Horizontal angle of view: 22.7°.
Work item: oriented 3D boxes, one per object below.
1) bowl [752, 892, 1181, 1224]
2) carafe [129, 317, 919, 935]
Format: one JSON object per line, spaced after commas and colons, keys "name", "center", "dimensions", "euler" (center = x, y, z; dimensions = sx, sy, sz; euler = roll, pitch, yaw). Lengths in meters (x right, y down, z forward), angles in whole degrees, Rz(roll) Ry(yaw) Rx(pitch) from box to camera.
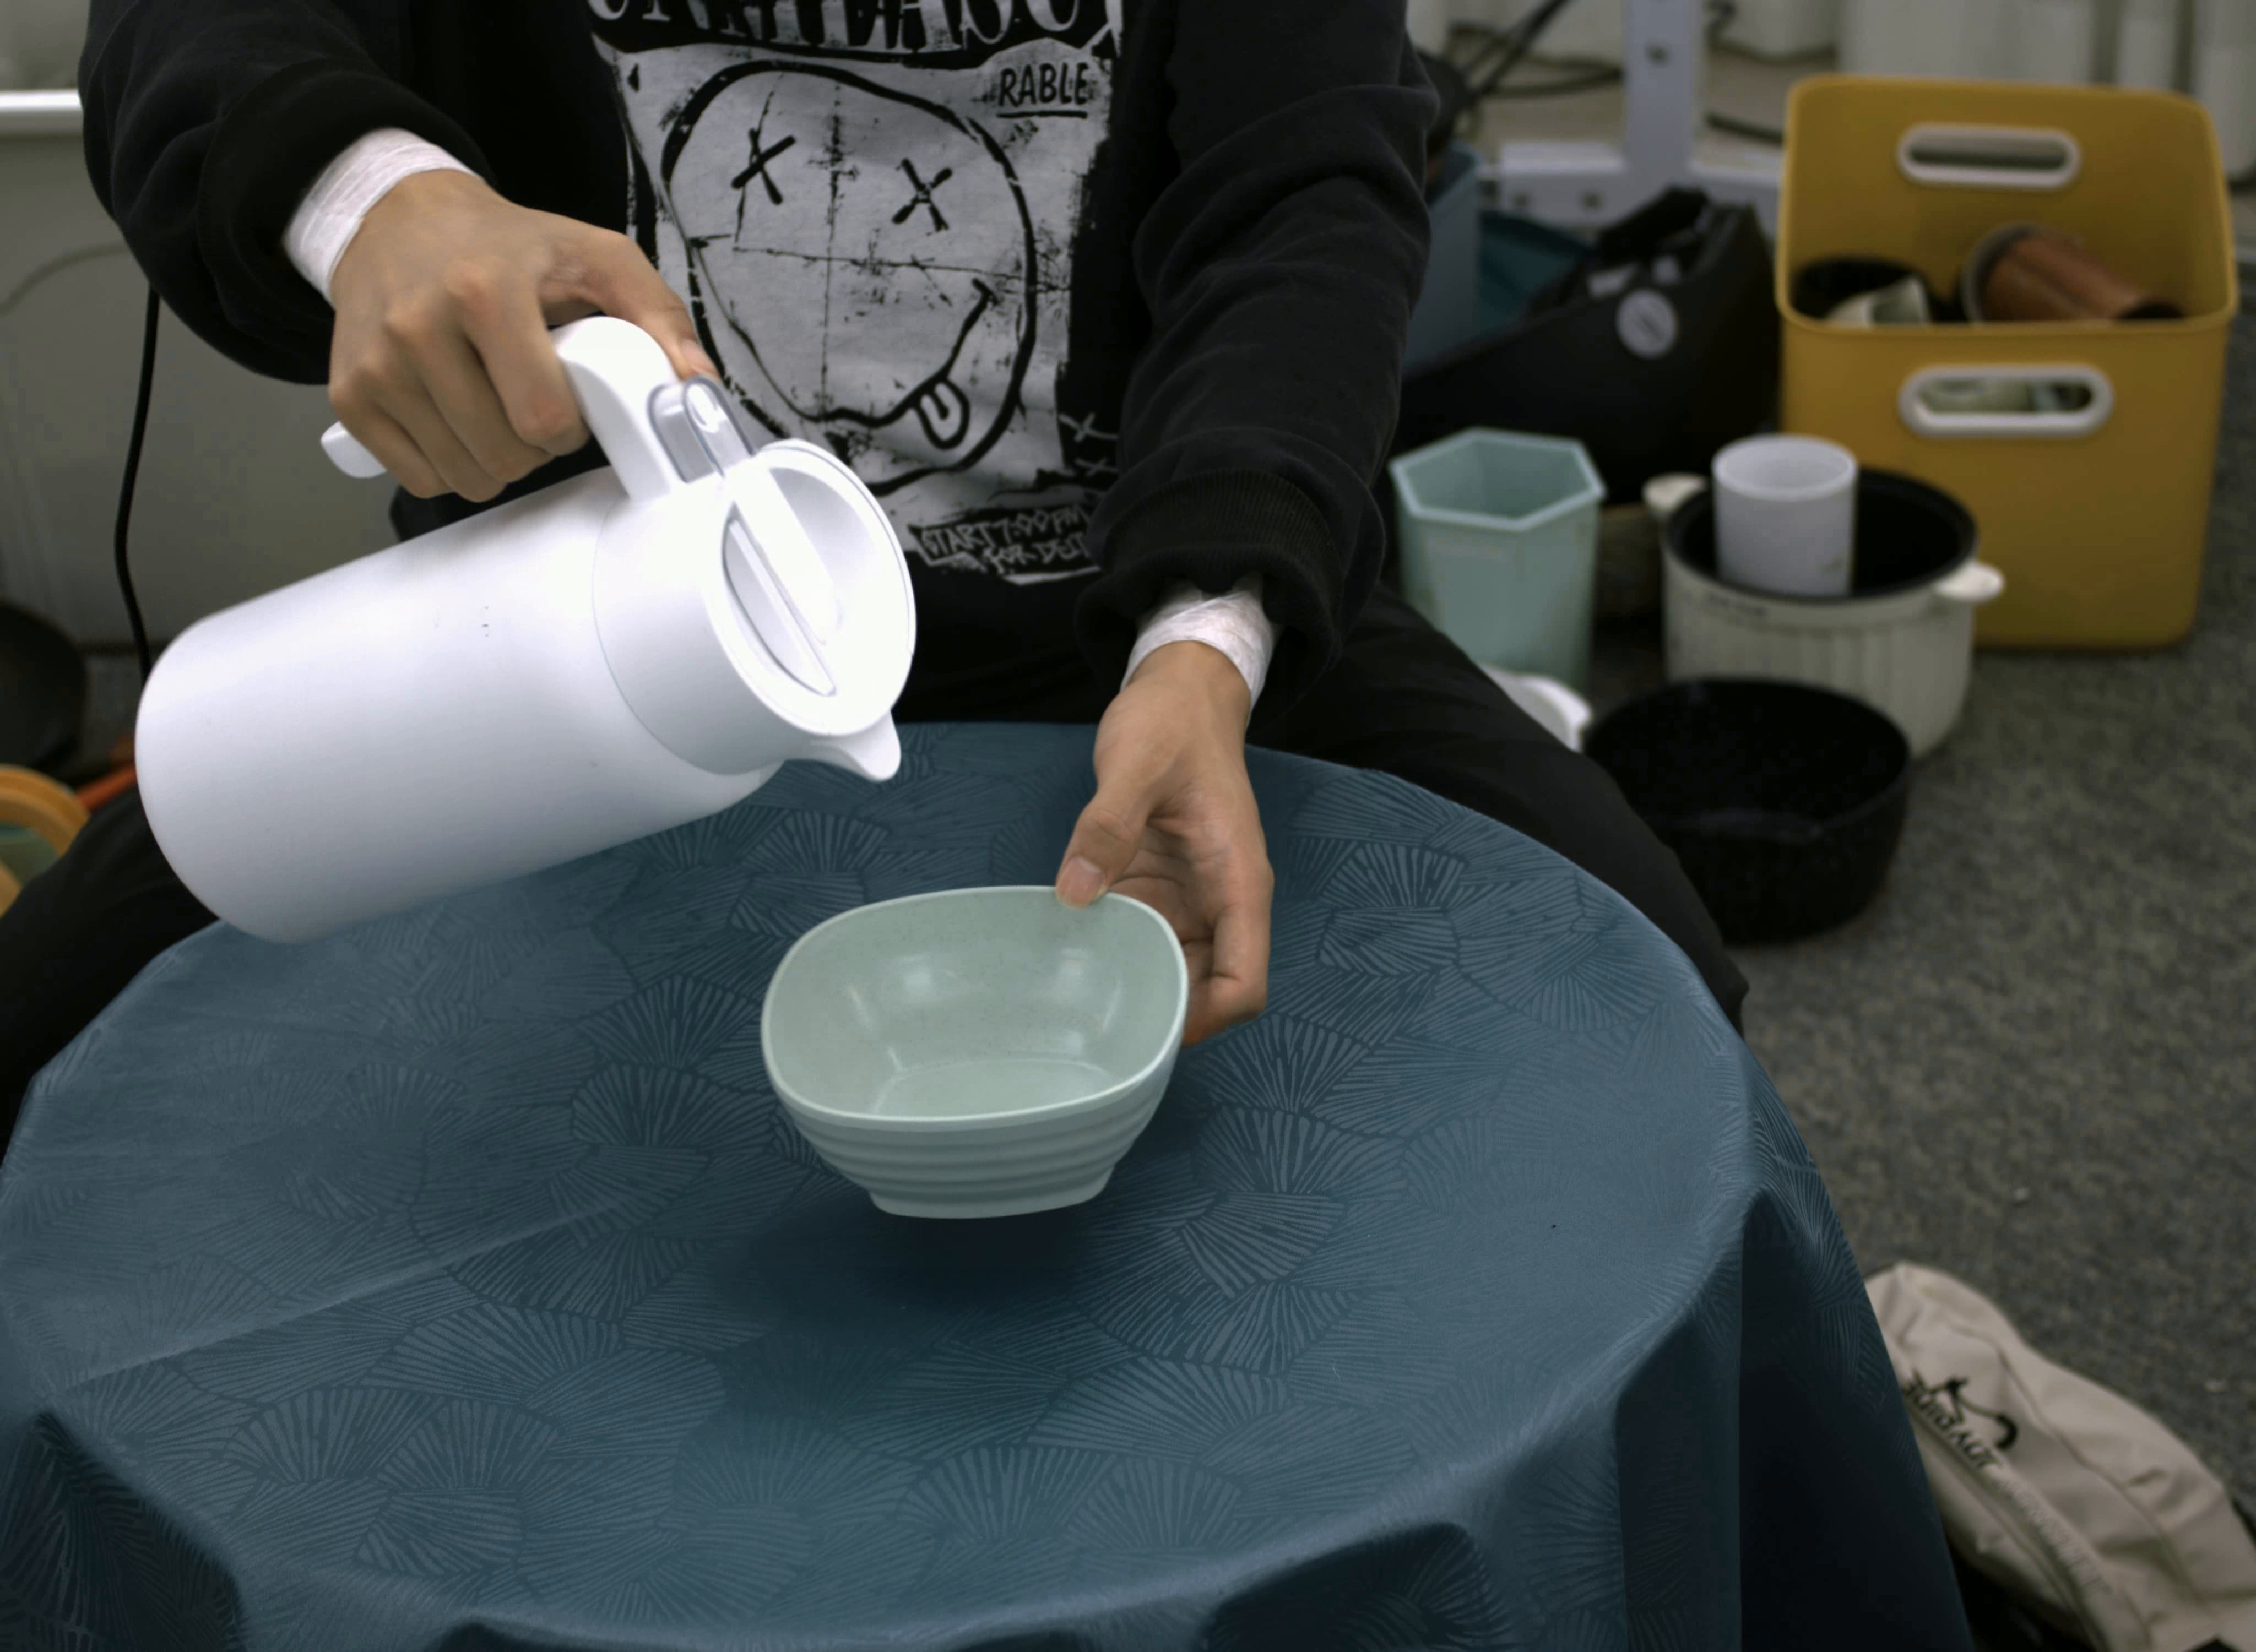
{"name": "bowl", "center": [-0.050, 0.082, 1.820], "dimensions": [0.150, 0.058, 0.154], "euler": [-4, 29, 3]}
{"name": "carafe", "center": [-0.207, -0.060, 1.830], "dimensions": [0.265, 0.172, 0.126], "euler": [-15, 21, 38]}
